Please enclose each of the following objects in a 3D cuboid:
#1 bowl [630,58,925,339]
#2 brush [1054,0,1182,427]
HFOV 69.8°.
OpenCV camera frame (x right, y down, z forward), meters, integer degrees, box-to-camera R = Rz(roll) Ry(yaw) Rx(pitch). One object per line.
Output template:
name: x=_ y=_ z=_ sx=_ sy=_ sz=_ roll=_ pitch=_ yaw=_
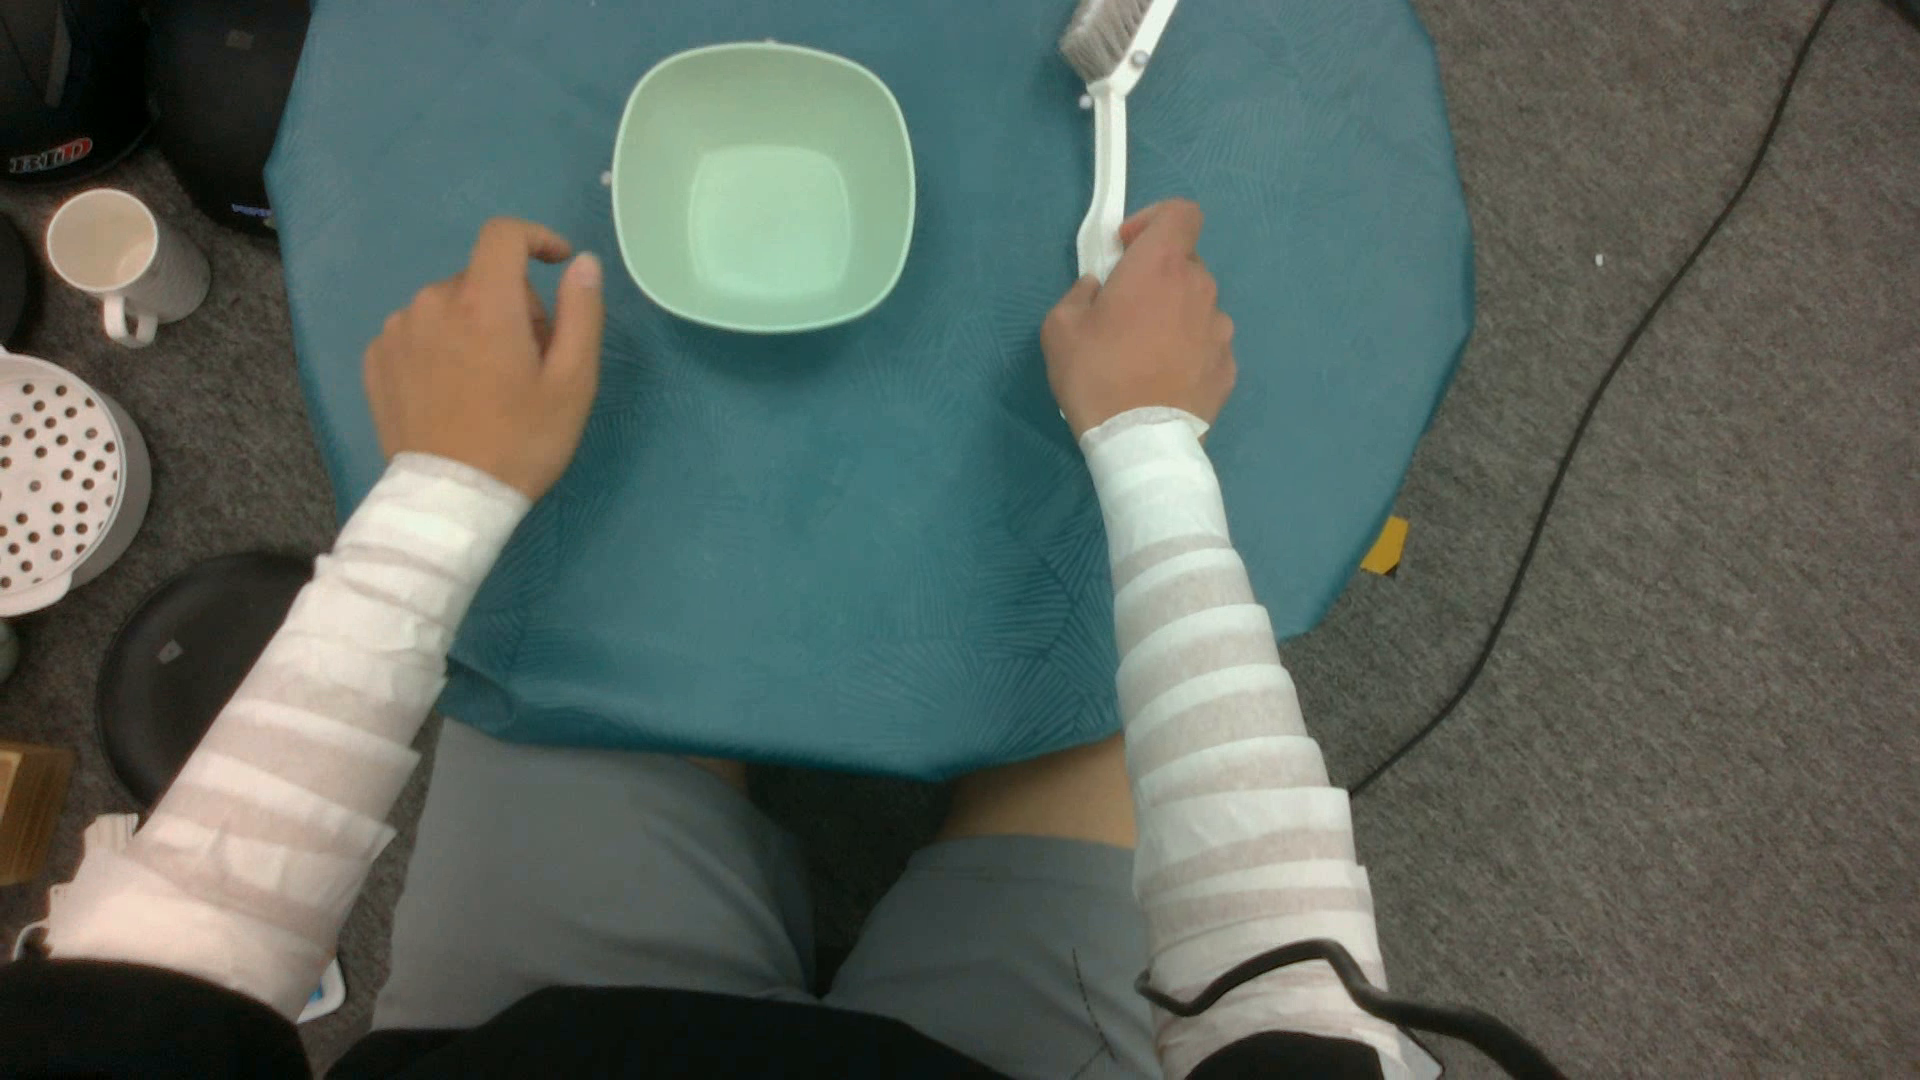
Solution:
bowl: x=-0.087 y=-0.159 z=0.677 sx=0.151 sy=0.058 sz=0.151 roll=0 pitch=81 yaw=-3
brush: x=0.064 y=-0.179 z=0.699 sx=0.050 sy=0.034 sz=0.244 roll=17 pitch=83 yaw=-27
